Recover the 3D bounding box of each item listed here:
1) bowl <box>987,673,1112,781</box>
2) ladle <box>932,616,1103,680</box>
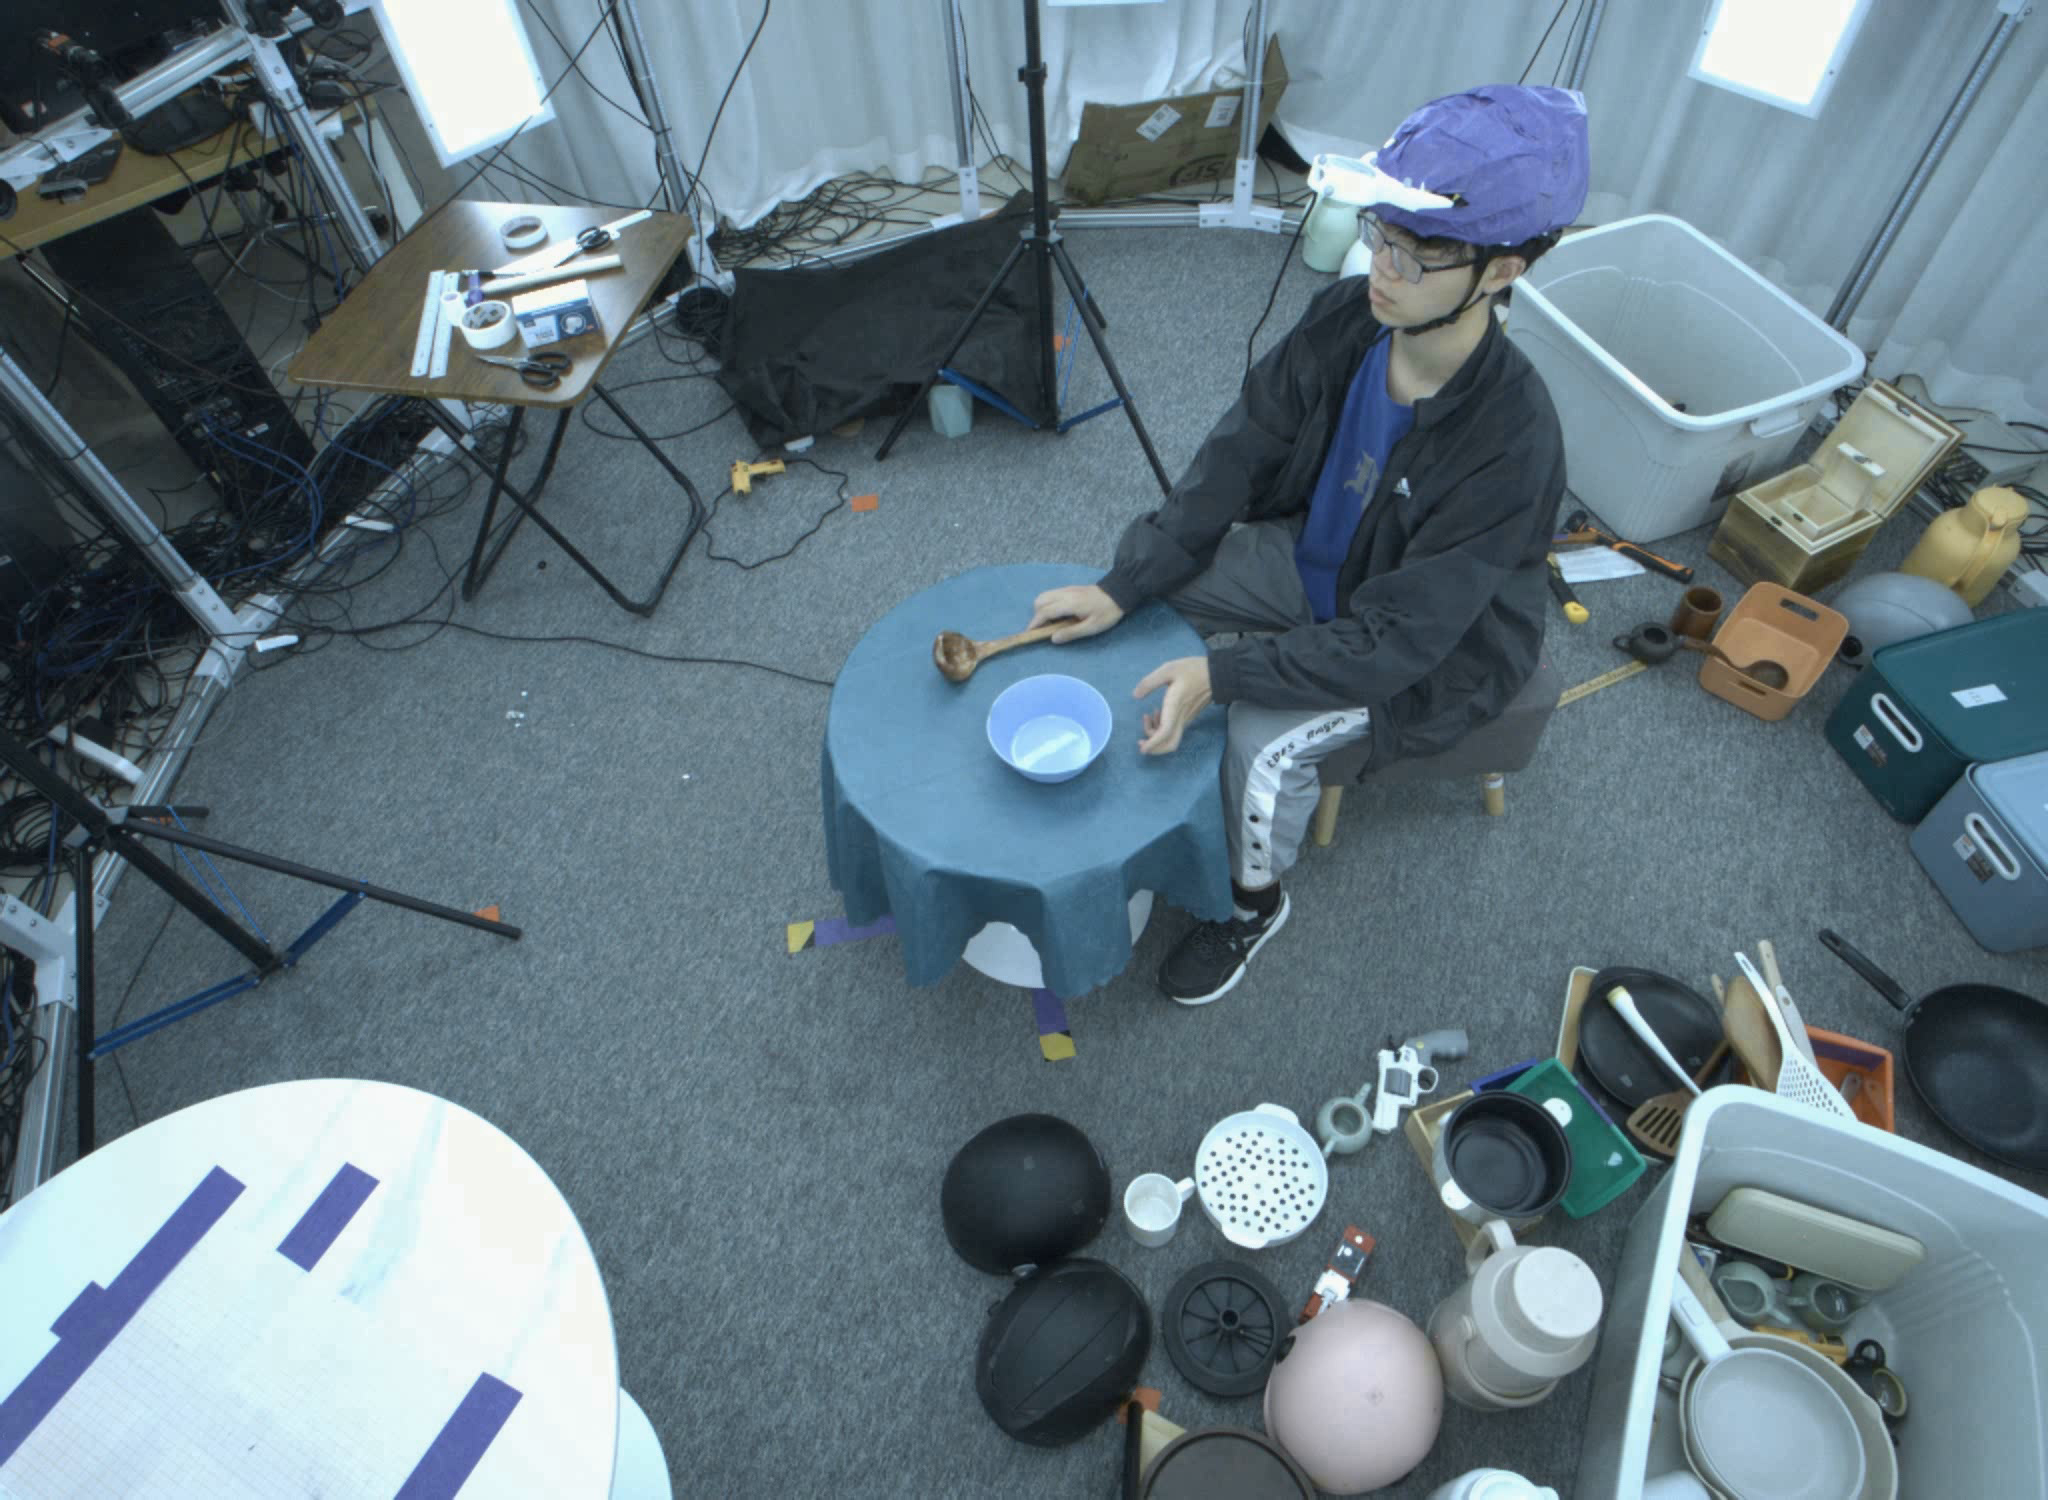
[{"bbox_3d":[0.037,-0.022,1.748,0.176,0.071,0.174,0,55,2],"label":"bowl"},{"bbox_3d":[-0.006,-0.169,1.856,0.276,0.076,0.082,-14,97,-10],"label":"ladle"}]
